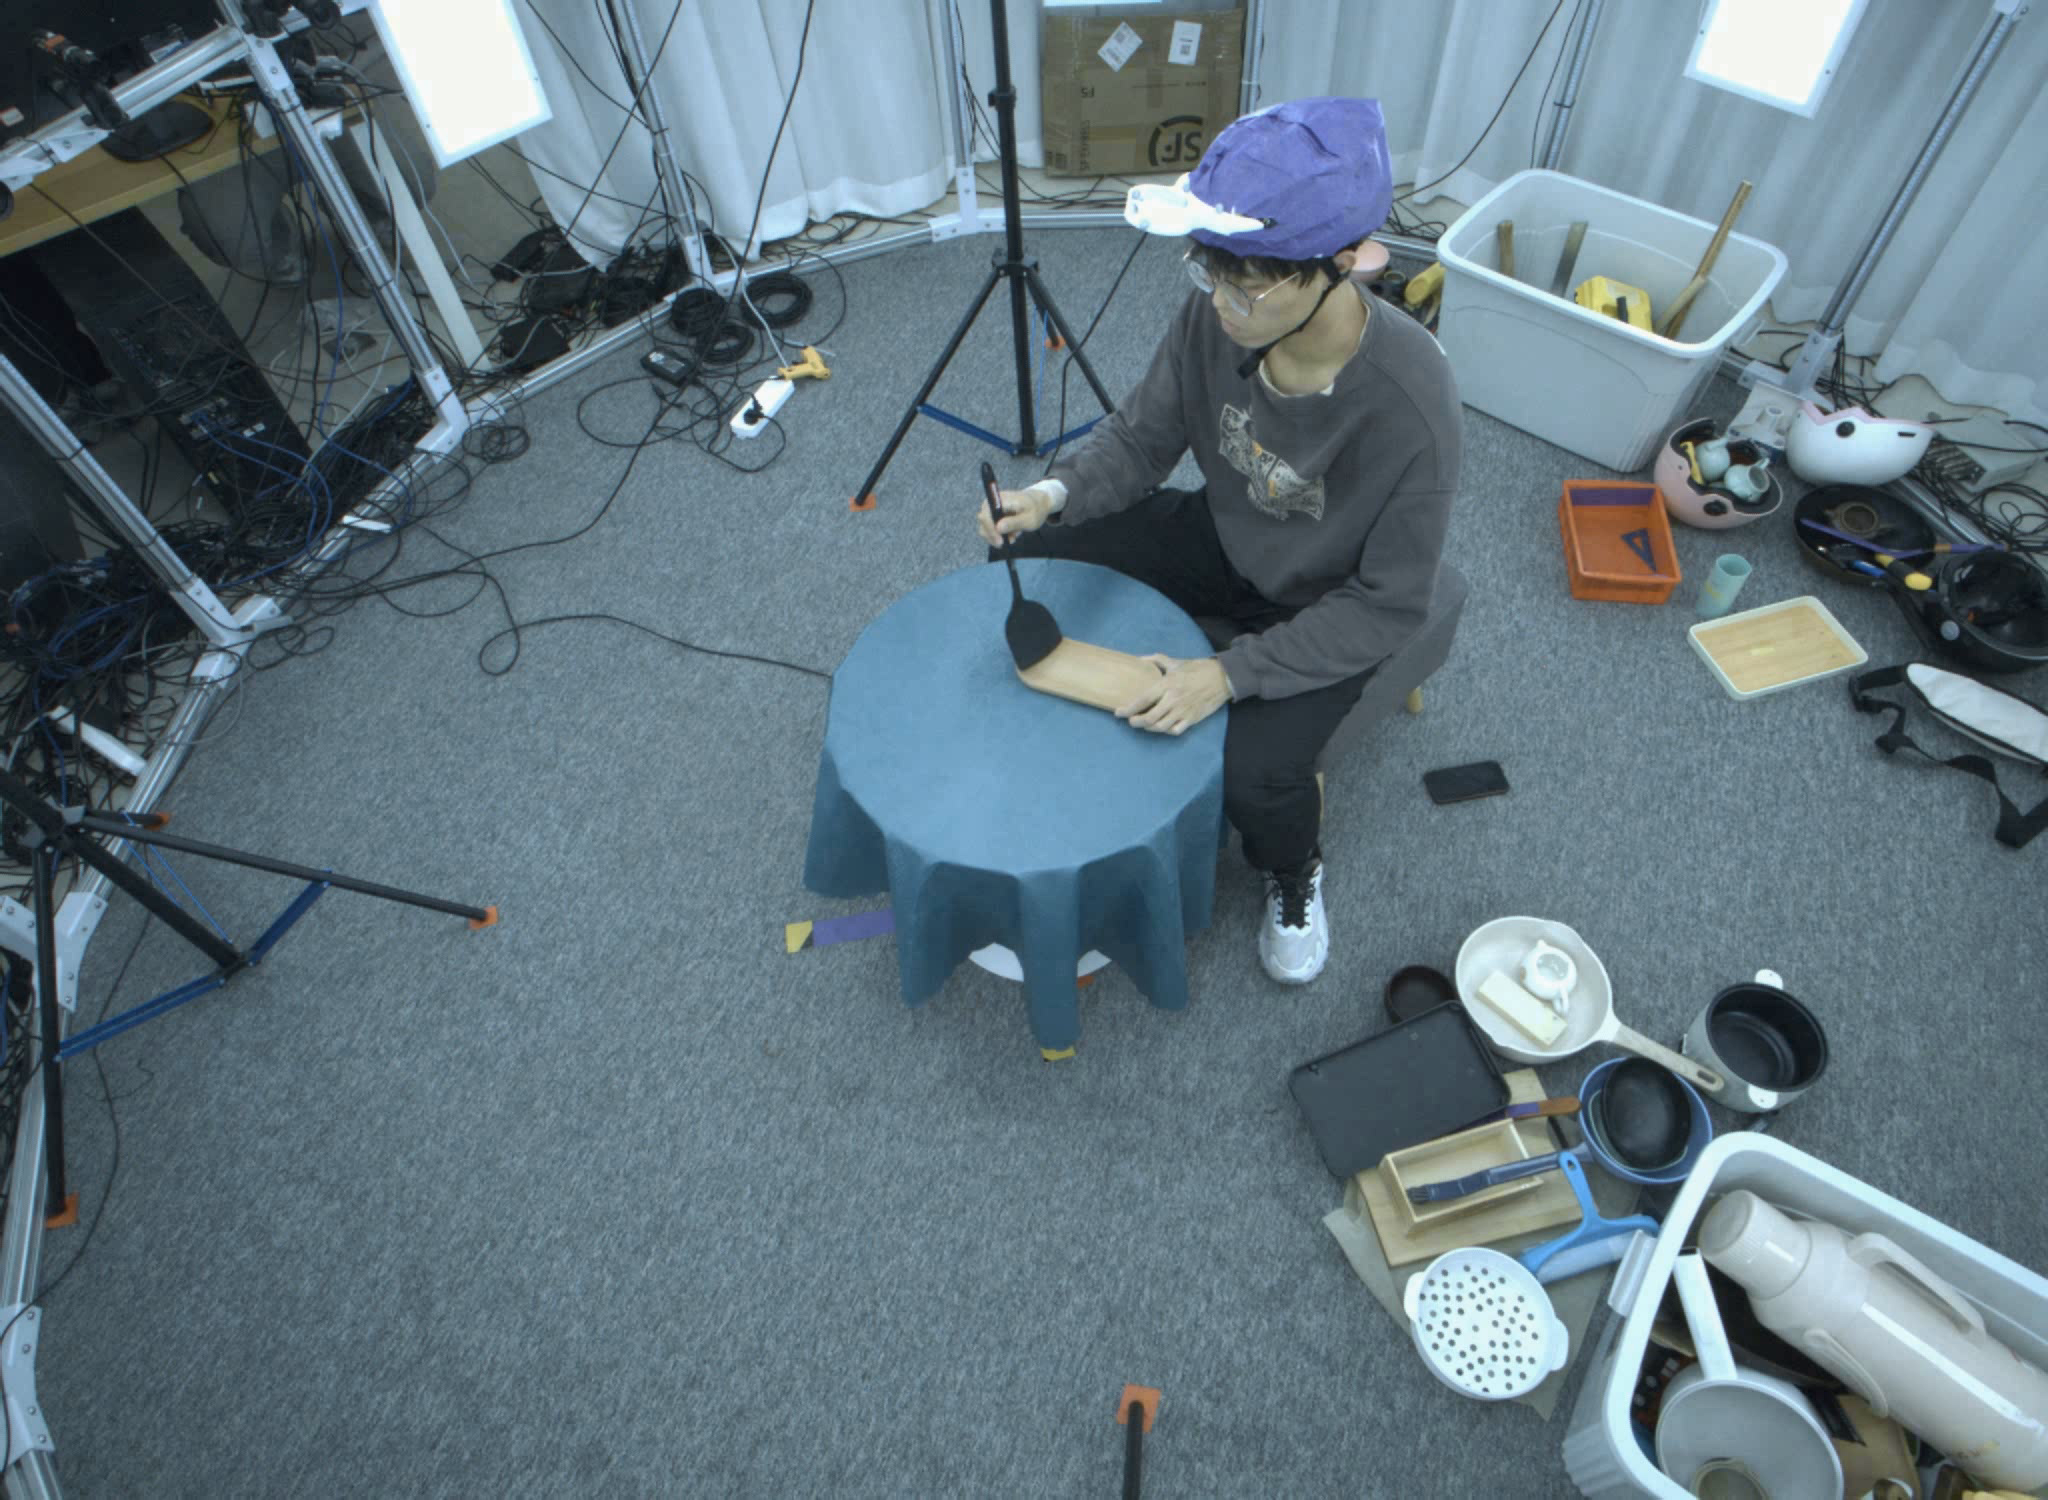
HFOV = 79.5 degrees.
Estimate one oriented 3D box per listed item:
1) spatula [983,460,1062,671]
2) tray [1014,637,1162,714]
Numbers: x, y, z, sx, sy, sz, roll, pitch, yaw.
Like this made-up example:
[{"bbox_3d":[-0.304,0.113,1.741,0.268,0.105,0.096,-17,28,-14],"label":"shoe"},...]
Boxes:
[{"bbox_3d":[-0.014,-0.267,1.753,0.039,0.331,0.100,24,52,37],"label":"spatula"},{"bbox_3d":[0.096,-0.113,1.850,0.228,0.020,0.101,16,58,16],"label":"tray"}]
